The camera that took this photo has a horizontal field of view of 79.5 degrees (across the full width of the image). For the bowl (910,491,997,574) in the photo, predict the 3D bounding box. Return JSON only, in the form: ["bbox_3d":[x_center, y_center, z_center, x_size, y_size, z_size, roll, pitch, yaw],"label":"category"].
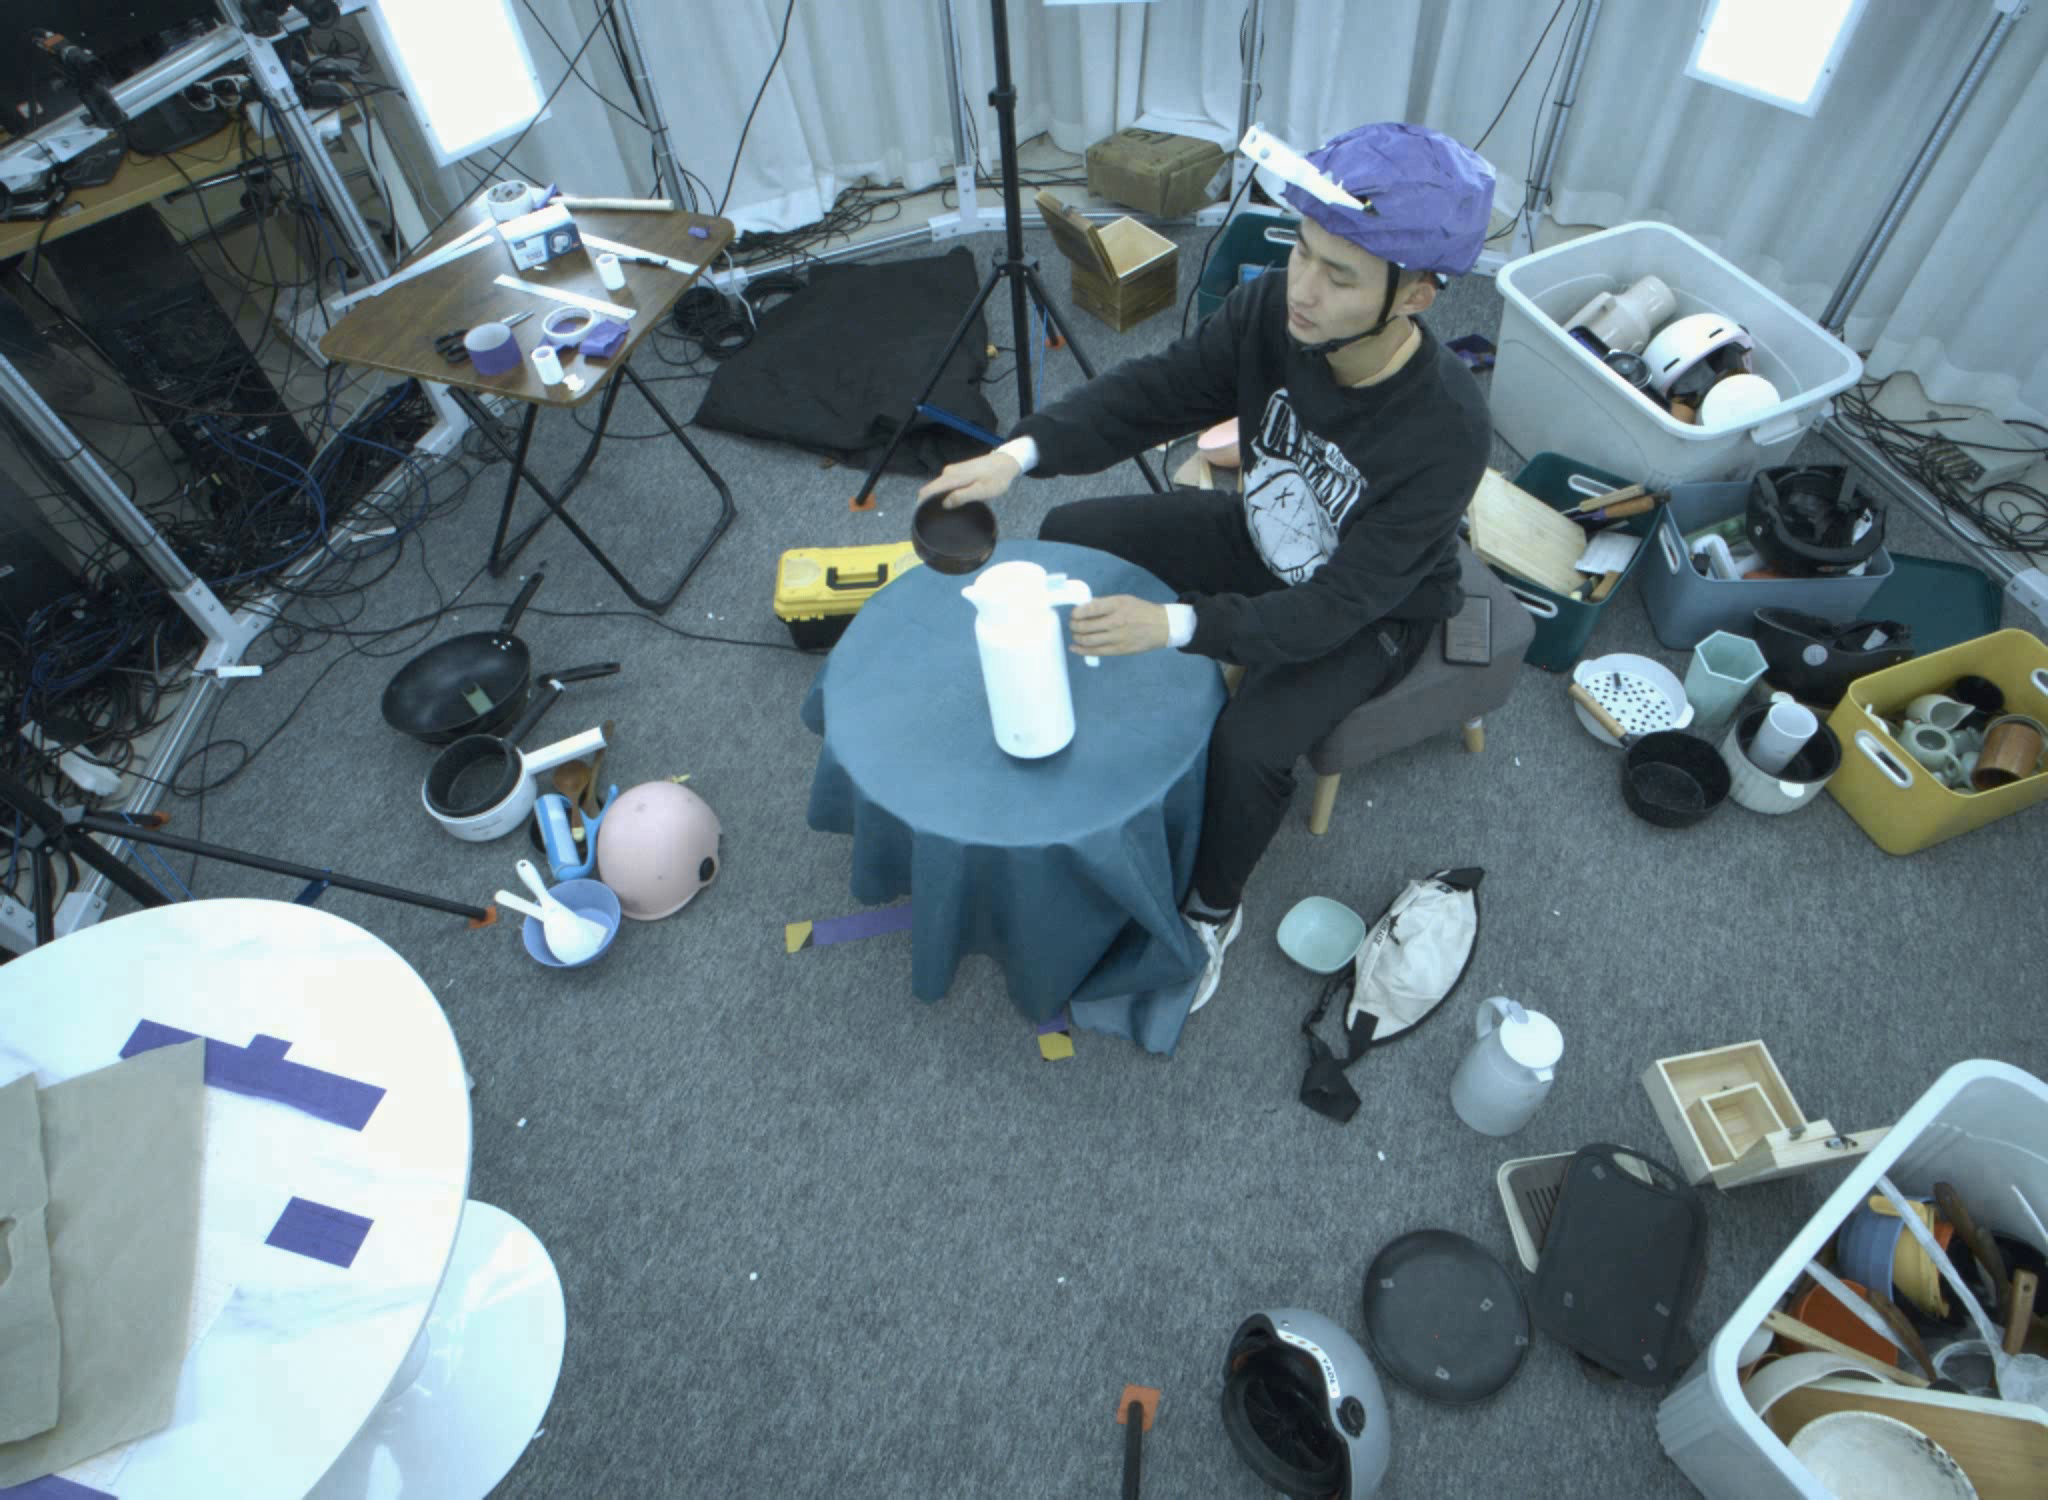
[{"bbox_3d":[-0.097,-0.288,1.663,0.118,0.070,0.117,3,61,-5],"label":"bowl"}]

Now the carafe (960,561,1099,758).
[{"bbox_3d":[0.017,-0.125,1.698,0.172,0.272,0.122,-7,39,3],"label":"carafe"}]
